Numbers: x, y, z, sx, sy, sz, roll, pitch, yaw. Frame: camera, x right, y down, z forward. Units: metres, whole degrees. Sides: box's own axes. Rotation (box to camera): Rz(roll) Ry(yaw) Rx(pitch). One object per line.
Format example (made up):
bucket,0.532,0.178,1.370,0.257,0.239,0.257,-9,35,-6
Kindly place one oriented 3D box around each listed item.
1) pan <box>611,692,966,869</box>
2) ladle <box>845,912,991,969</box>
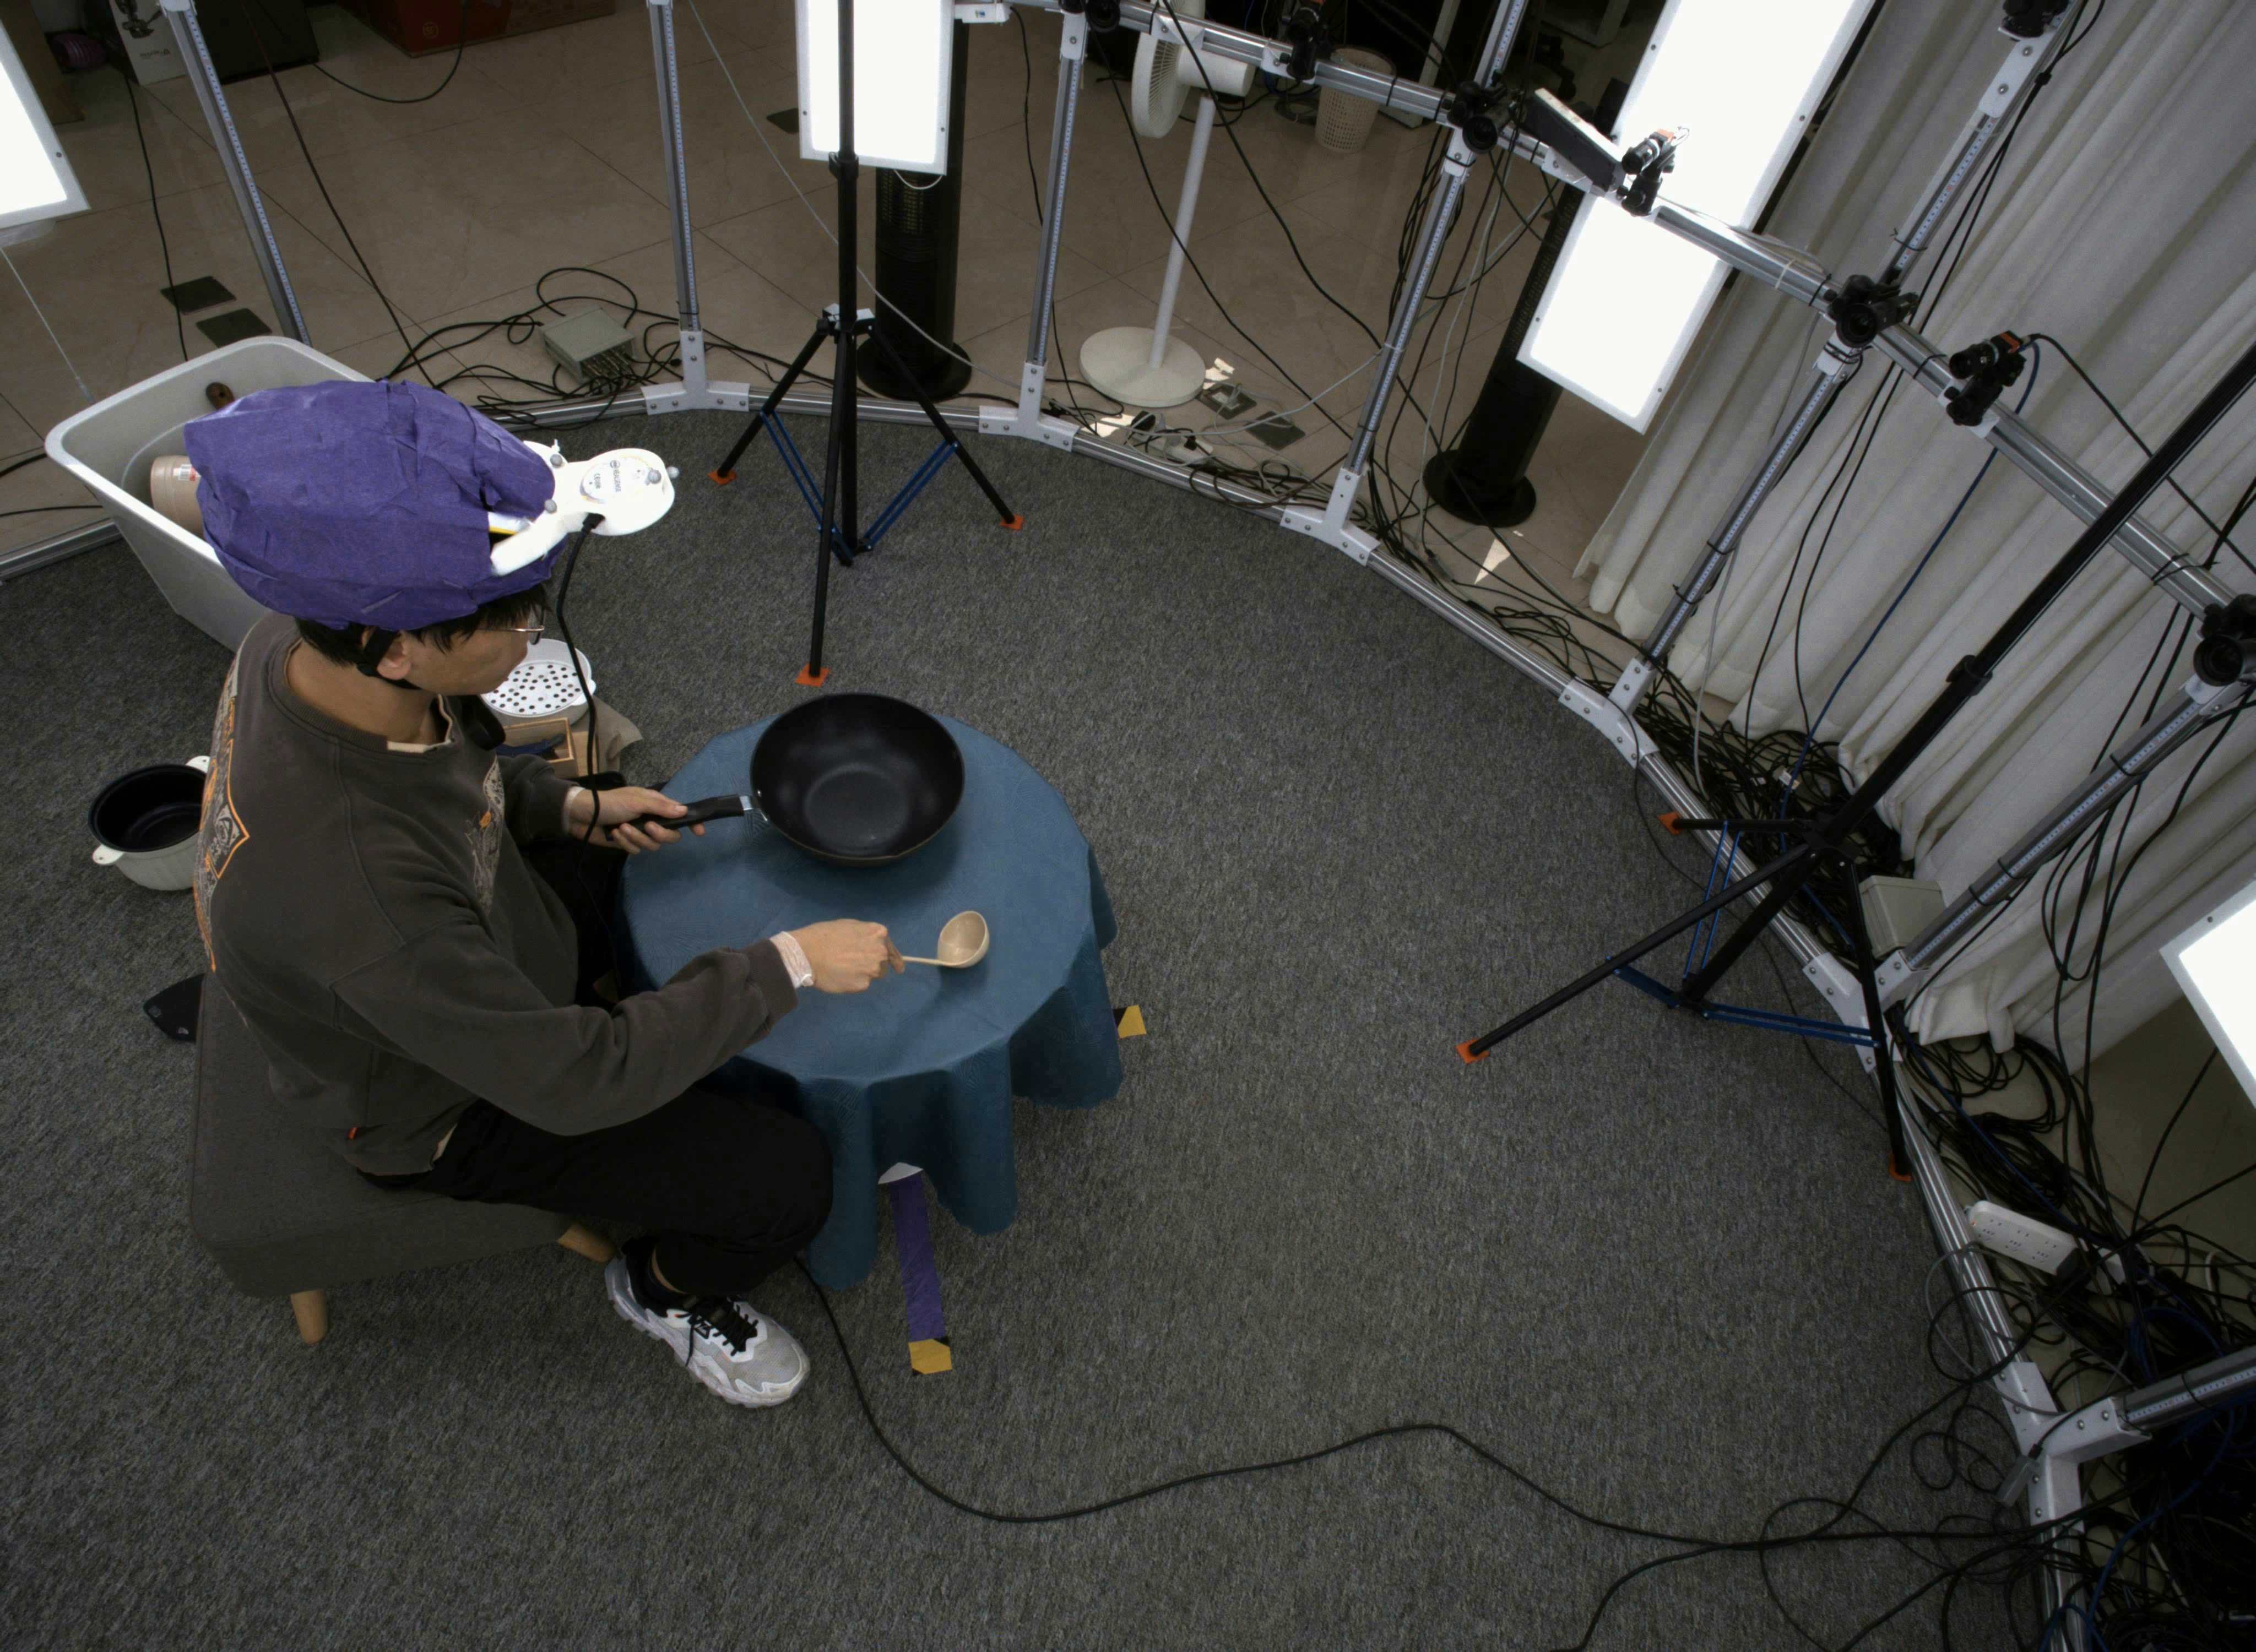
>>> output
pan,-0.438,-0.025,1.699,0.465,0.088,0.281,-16,60,-22
ladle,-0.252,0.132,1.553,0.070,0.260,0.073,1,85,26
